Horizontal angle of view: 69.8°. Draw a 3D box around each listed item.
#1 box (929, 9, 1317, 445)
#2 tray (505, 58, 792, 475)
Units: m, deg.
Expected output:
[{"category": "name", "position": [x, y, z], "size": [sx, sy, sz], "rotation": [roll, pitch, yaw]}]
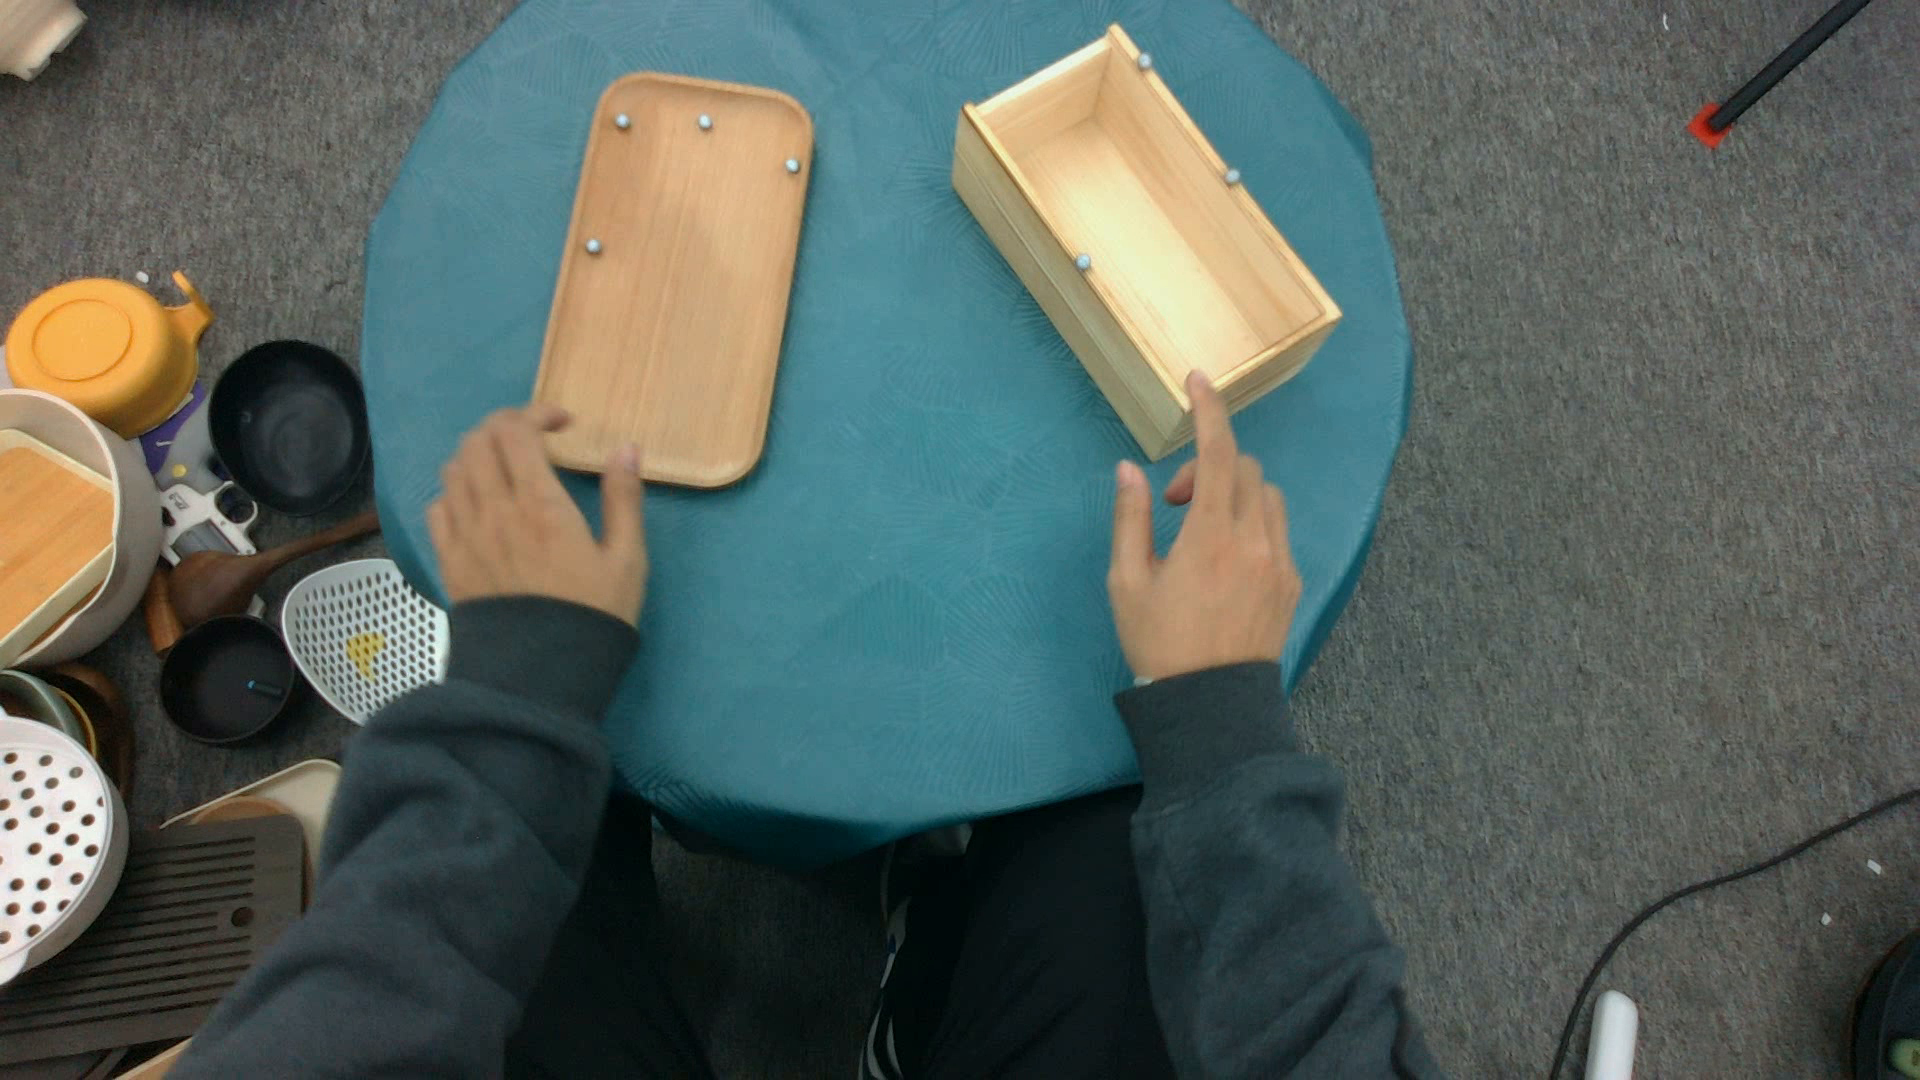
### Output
[{"category": "box", "position": [0.086, -0.175, 0.775], "size": [0.108, 0.080, 0.211], "rotation": [-32, 79, -13]}, {"category": "tray", "position": [-0.172, -0.158, 0.778], "size": [0.130, 0.023, 0.251], "rotation": [7, 73, 0]}]
